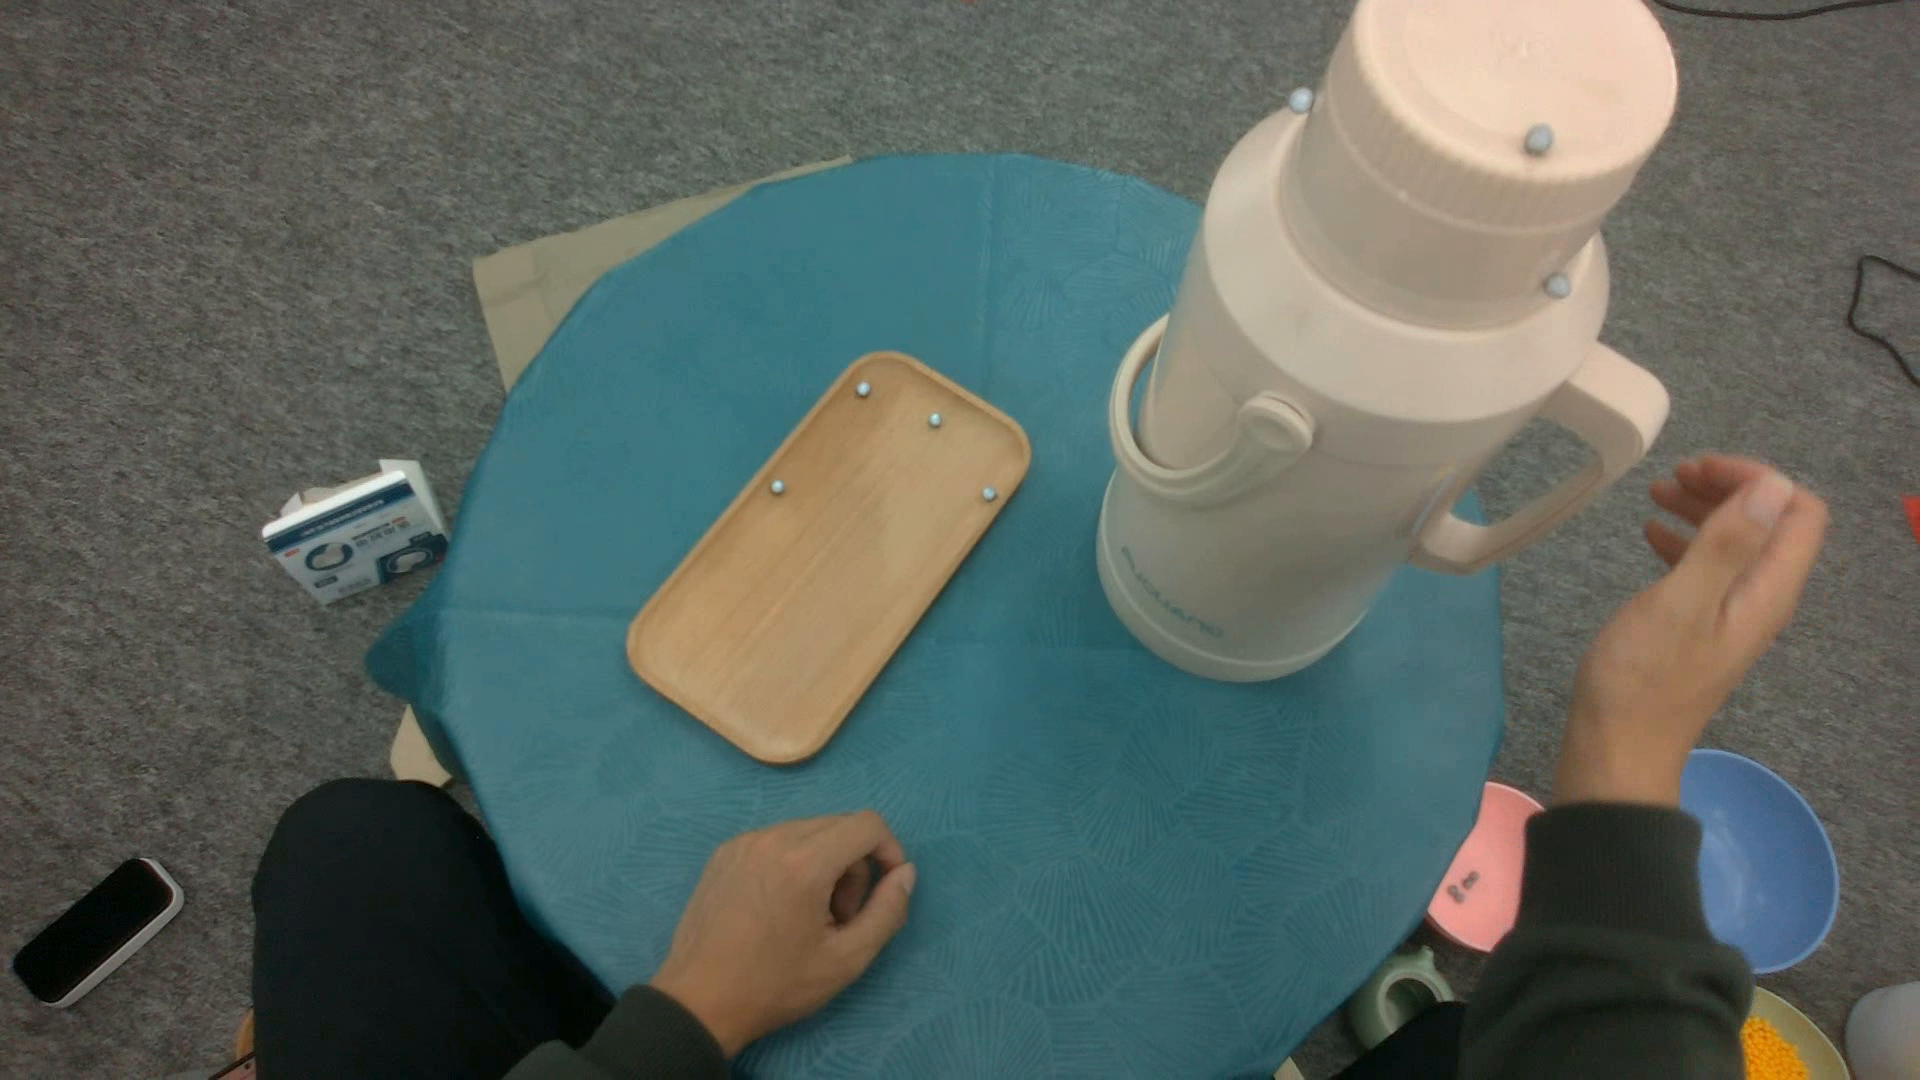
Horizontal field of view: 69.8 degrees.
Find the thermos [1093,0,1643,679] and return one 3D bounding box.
[{"bbox_3d":[0.175,-0.065,0.630,0.207,0.404,0.176,33,67,12],"label":"thermos"}]

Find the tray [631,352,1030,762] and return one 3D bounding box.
[{"bbox_3d":[-0.070,0.004,0.794,0.130,0.023,0.251,32,69,14],"label":"tray"}]
